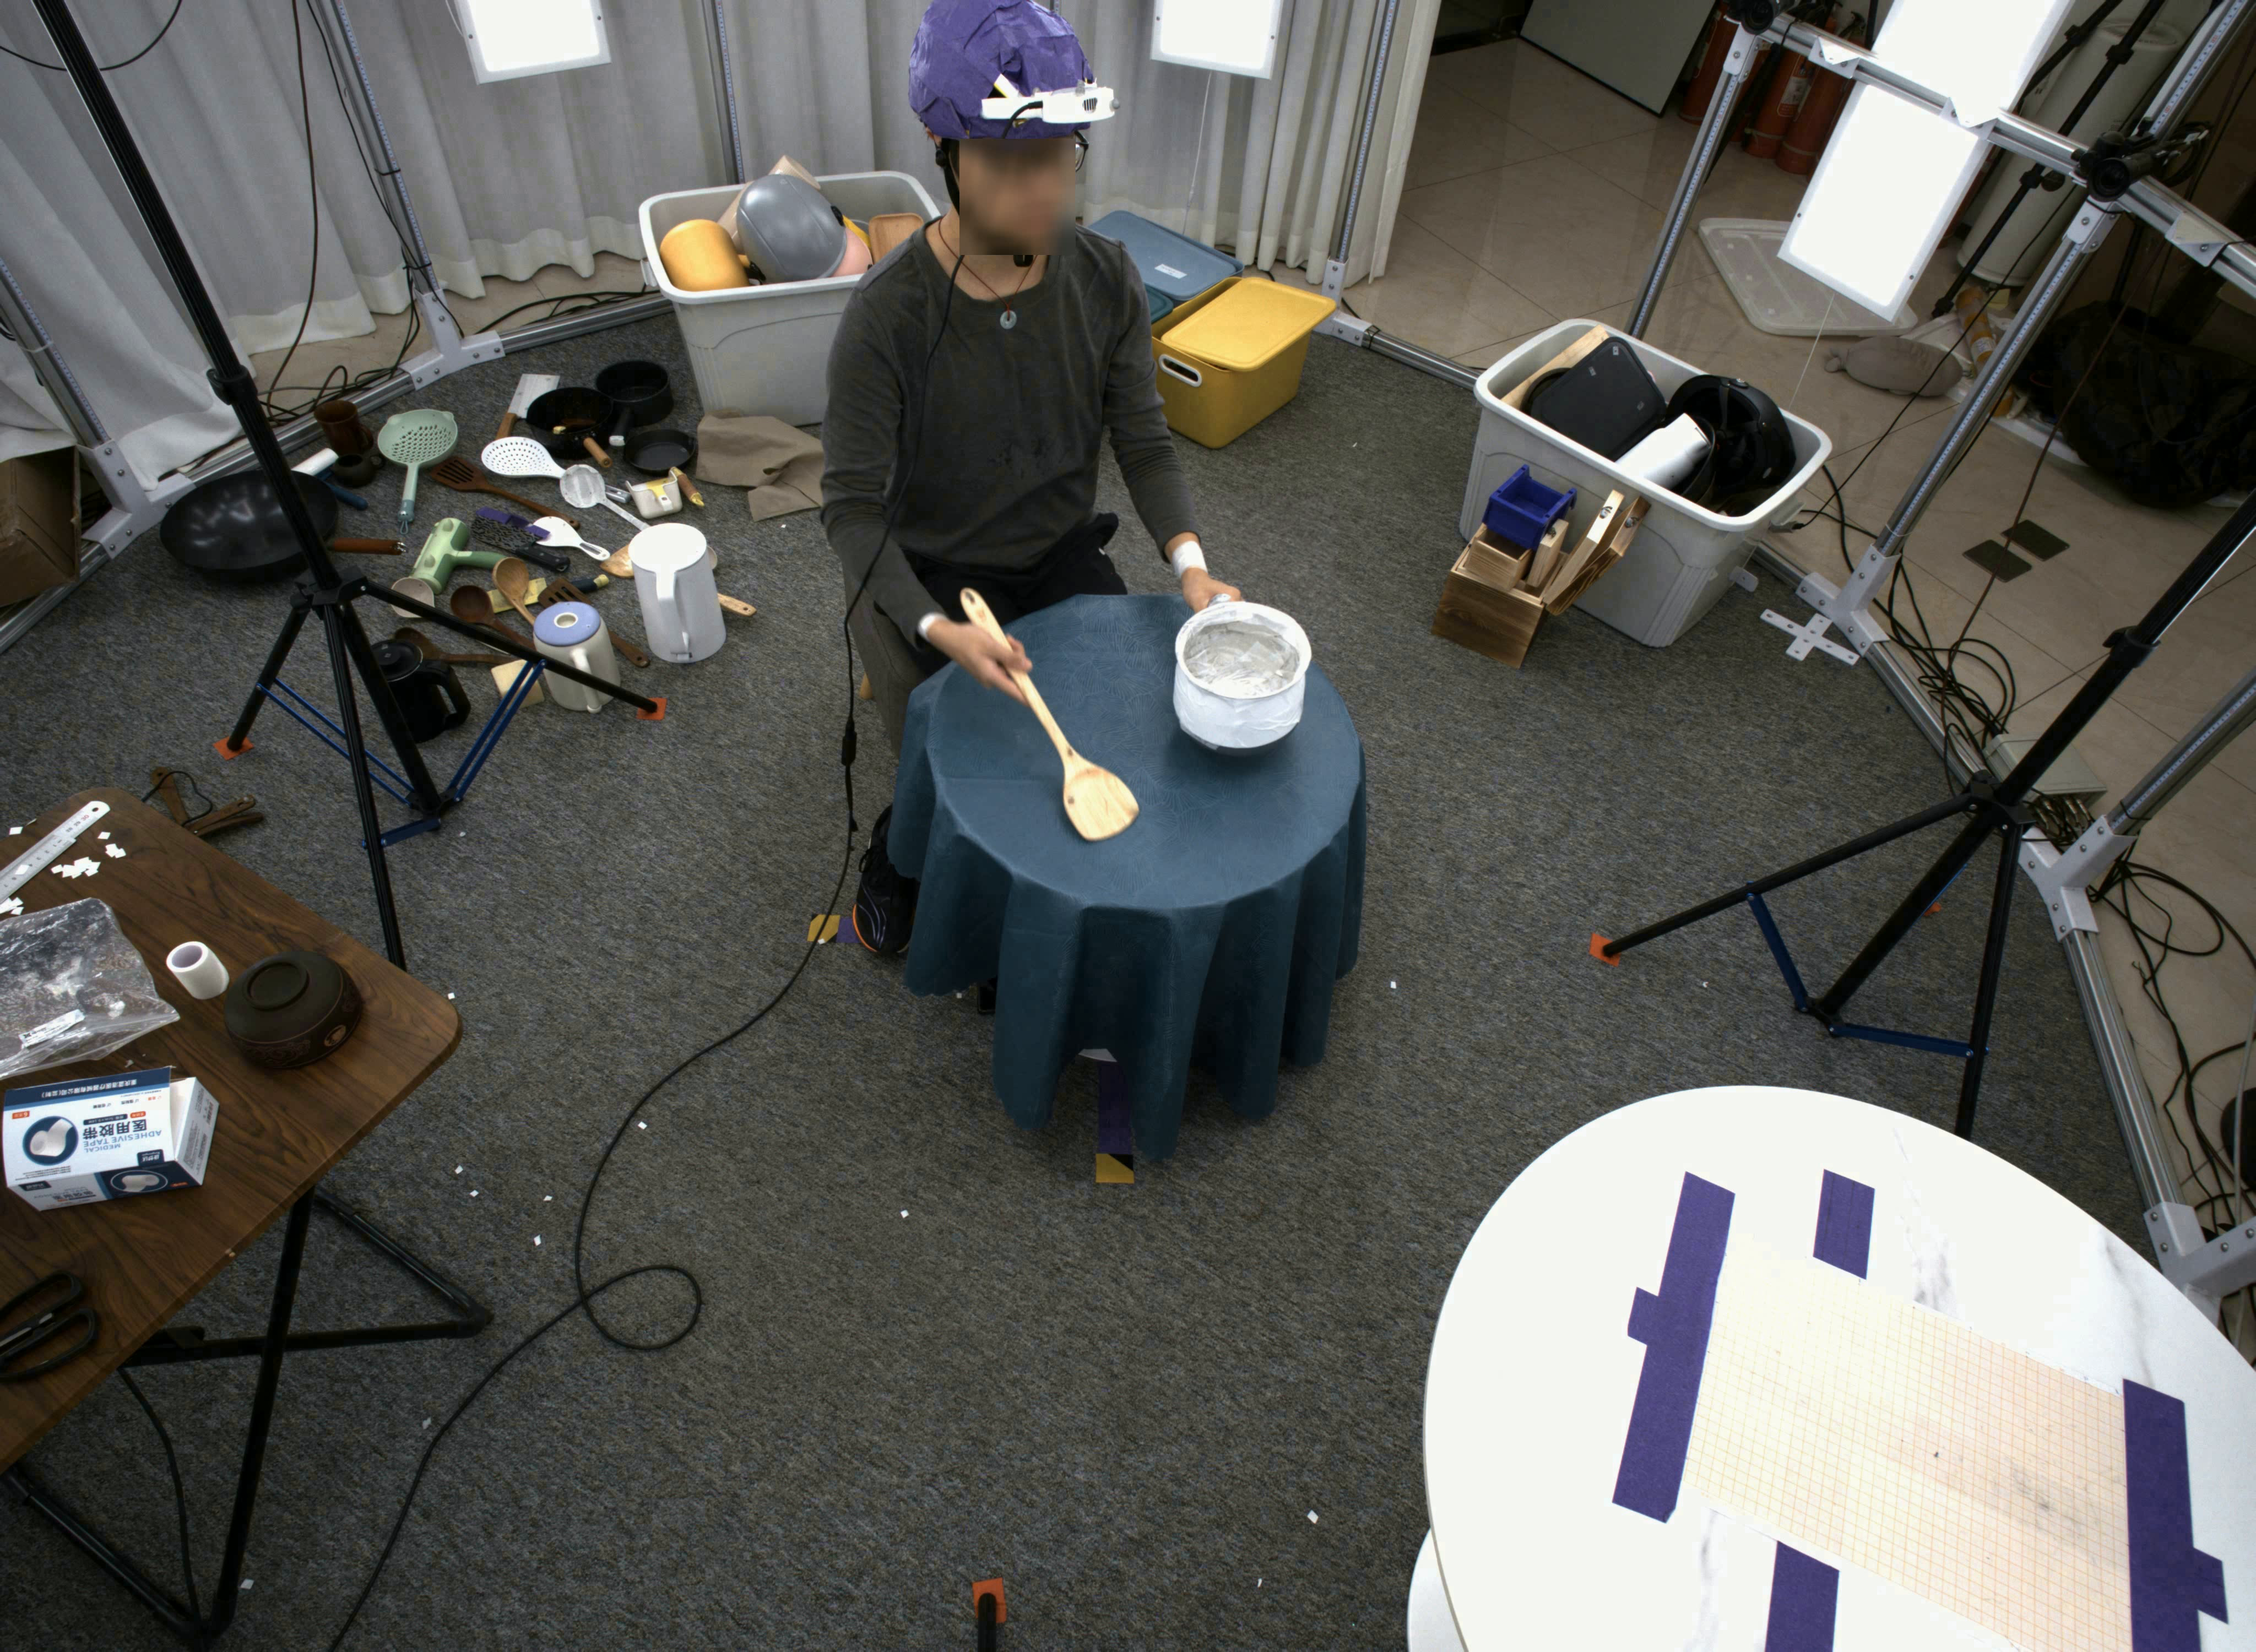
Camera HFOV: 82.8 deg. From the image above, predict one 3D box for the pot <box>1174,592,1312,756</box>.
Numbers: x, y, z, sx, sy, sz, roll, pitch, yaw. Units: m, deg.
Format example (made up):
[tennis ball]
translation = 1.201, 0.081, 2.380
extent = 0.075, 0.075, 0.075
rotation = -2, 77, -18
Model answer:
[pot]
translation = 0.144, -0.214, 1.729
extent = 0.178, 0.133, 0.239
rotation = -10, 52, -8

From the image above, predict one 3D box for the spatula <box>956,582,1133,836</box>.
[spatula]
translation = -0.124, -0.159, 1.694
extent = 0.096, 0.018, 0.393
rotation = -28, 81, -26
